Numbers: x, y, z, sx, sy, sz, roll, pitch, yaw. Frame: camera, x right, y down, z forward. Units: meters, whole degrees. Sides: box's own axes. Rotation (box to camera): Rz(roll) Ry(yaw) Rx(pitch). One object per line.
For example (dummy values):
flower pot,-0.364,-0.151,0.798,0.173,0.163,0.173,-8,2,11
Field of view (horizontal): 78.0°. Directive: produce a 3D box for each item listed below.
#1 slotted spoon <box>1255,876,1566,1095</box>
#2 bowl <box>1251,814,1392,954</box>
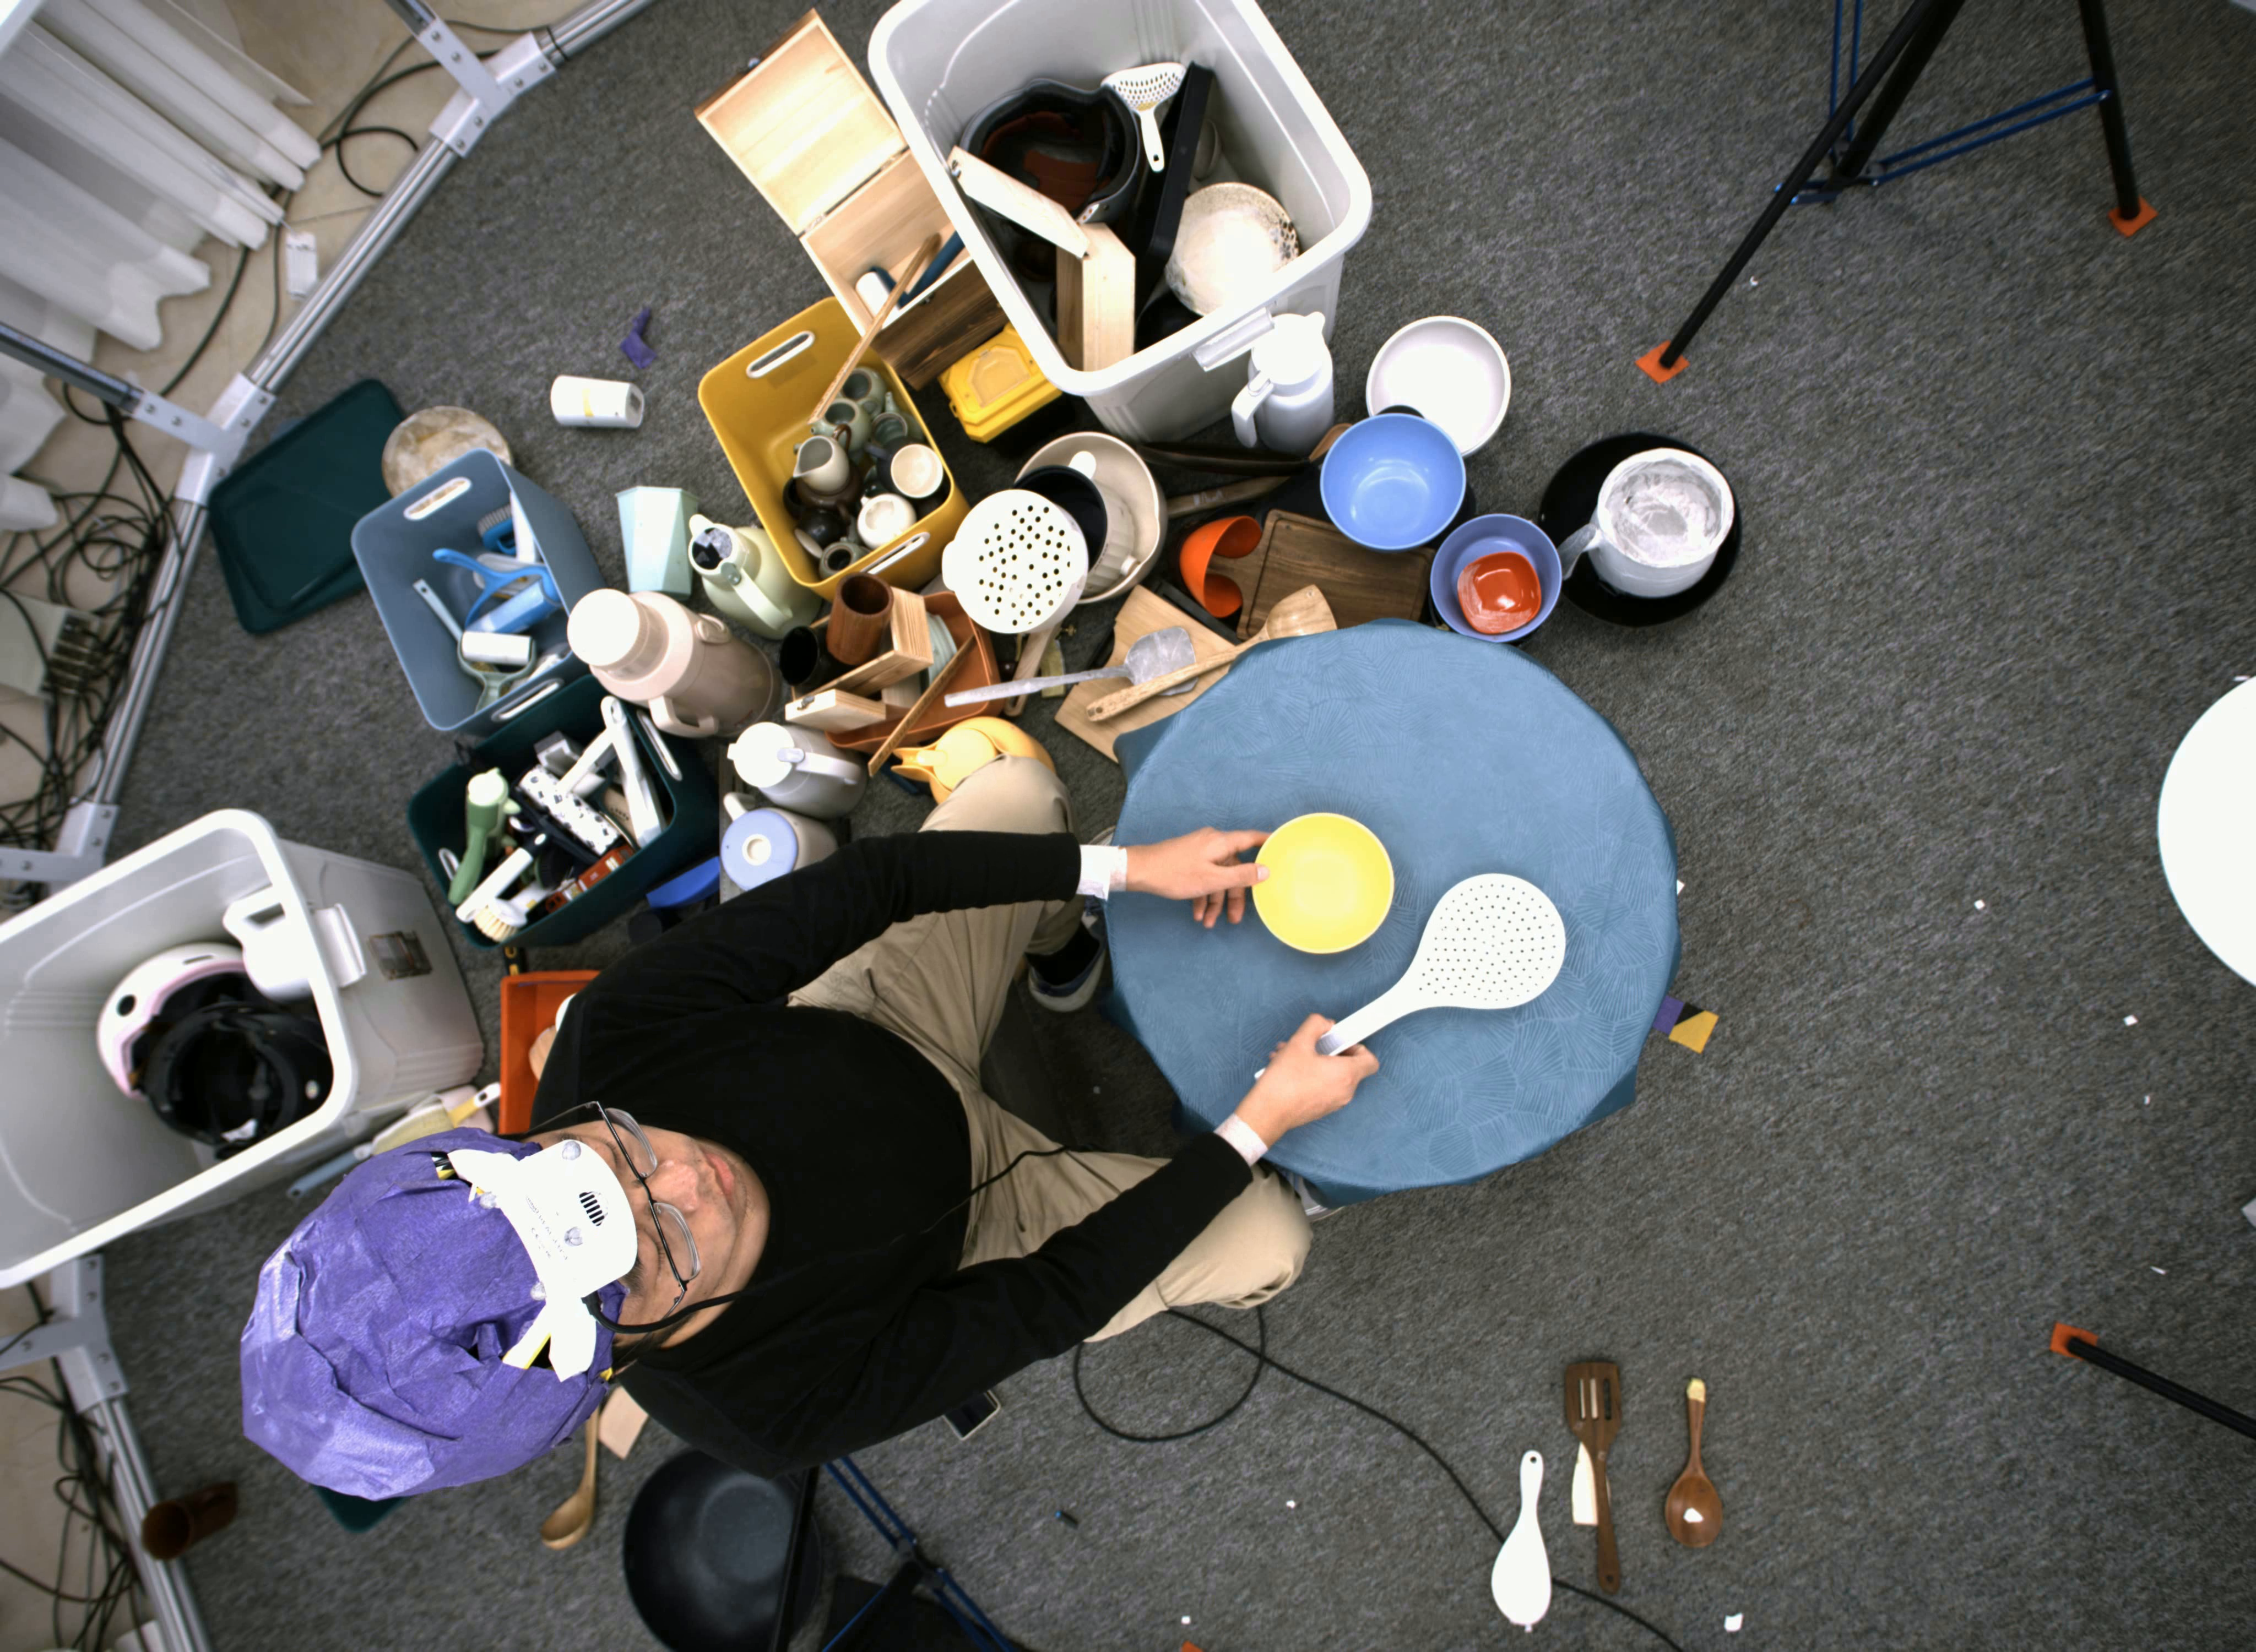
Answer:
slotted spoon,0.284,0.174,1.414,0.350,0.046,0.135,-31,77,0
bowl,0.202,0.062,1.445,0.146,0.060,0.144,-1,84,9
